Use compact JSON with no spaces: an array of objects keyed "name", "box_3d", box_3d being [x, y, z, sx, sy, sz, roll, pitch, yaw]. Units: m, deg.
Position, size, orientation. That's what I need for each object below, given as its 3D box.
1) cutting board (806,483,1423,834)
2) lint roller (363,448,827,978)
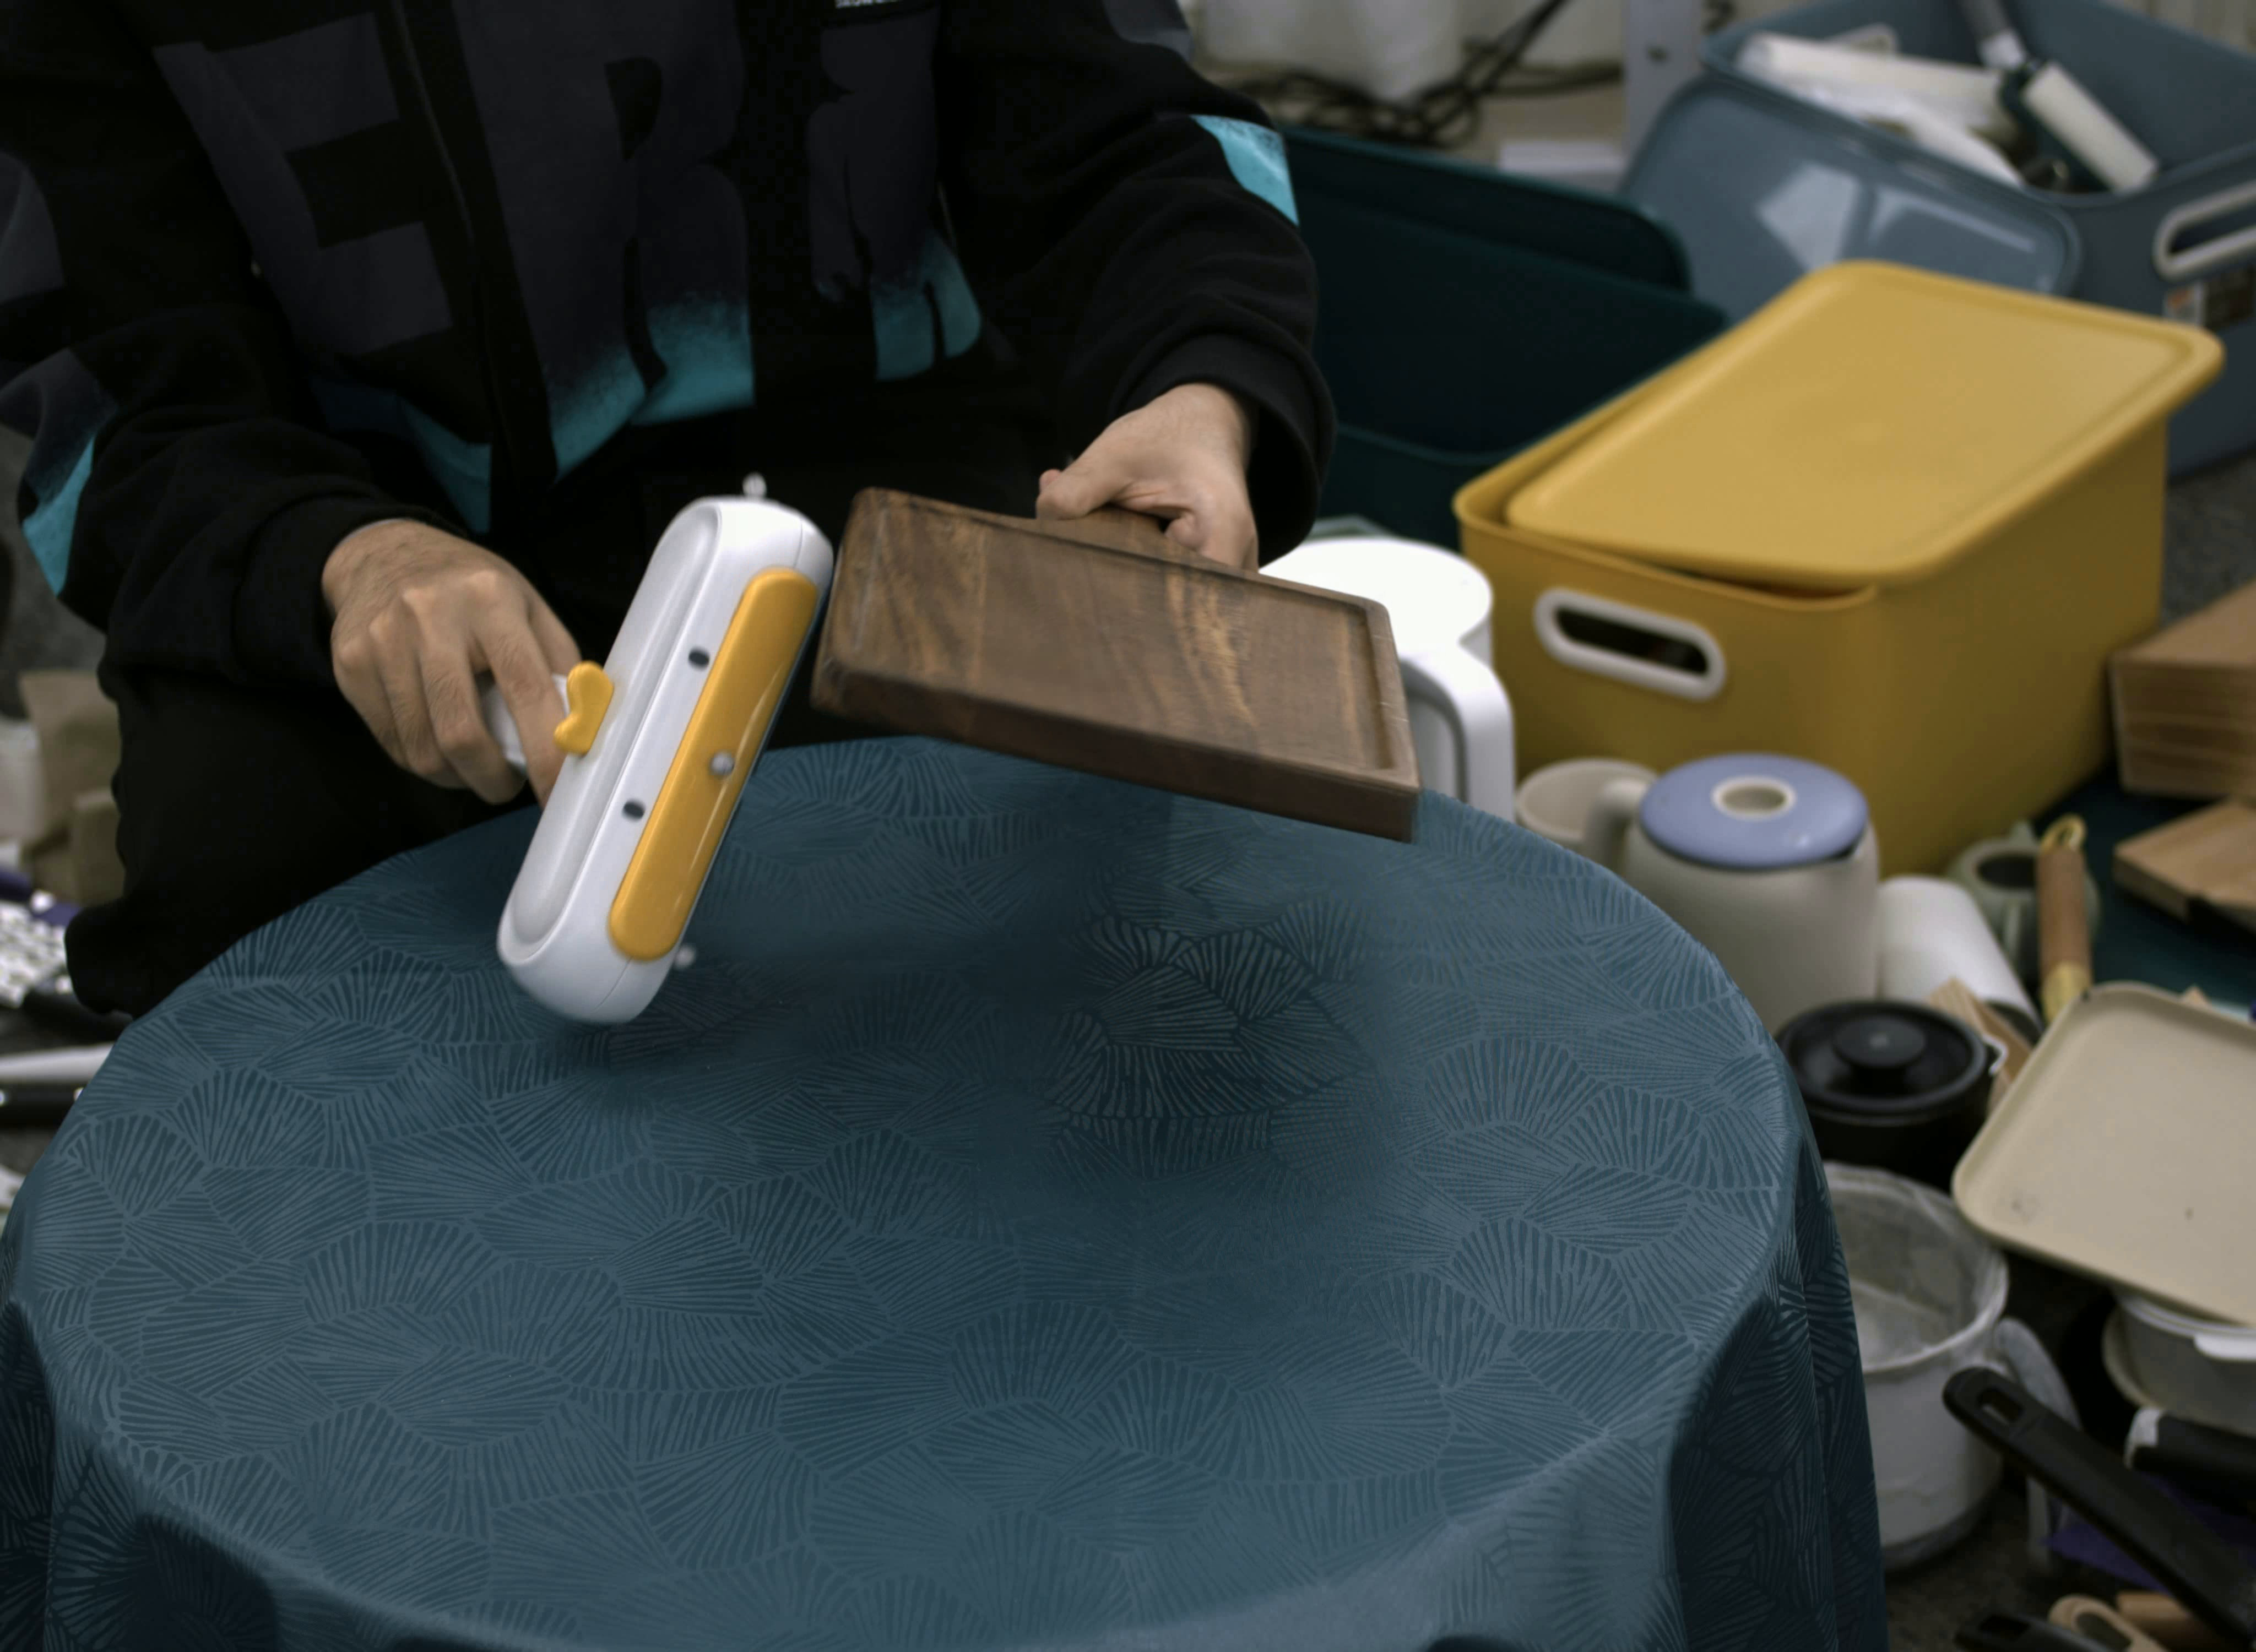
[{"name":"cutting board","box_3d":[-0.006,-0.070,1.935,0.200,0.023,0.355,11,15,-3]},{"name":"lint roller","box_3d":[-0.199,-0.042,1.996,0.074,0.195,0.190,25,-17,-35]}]
